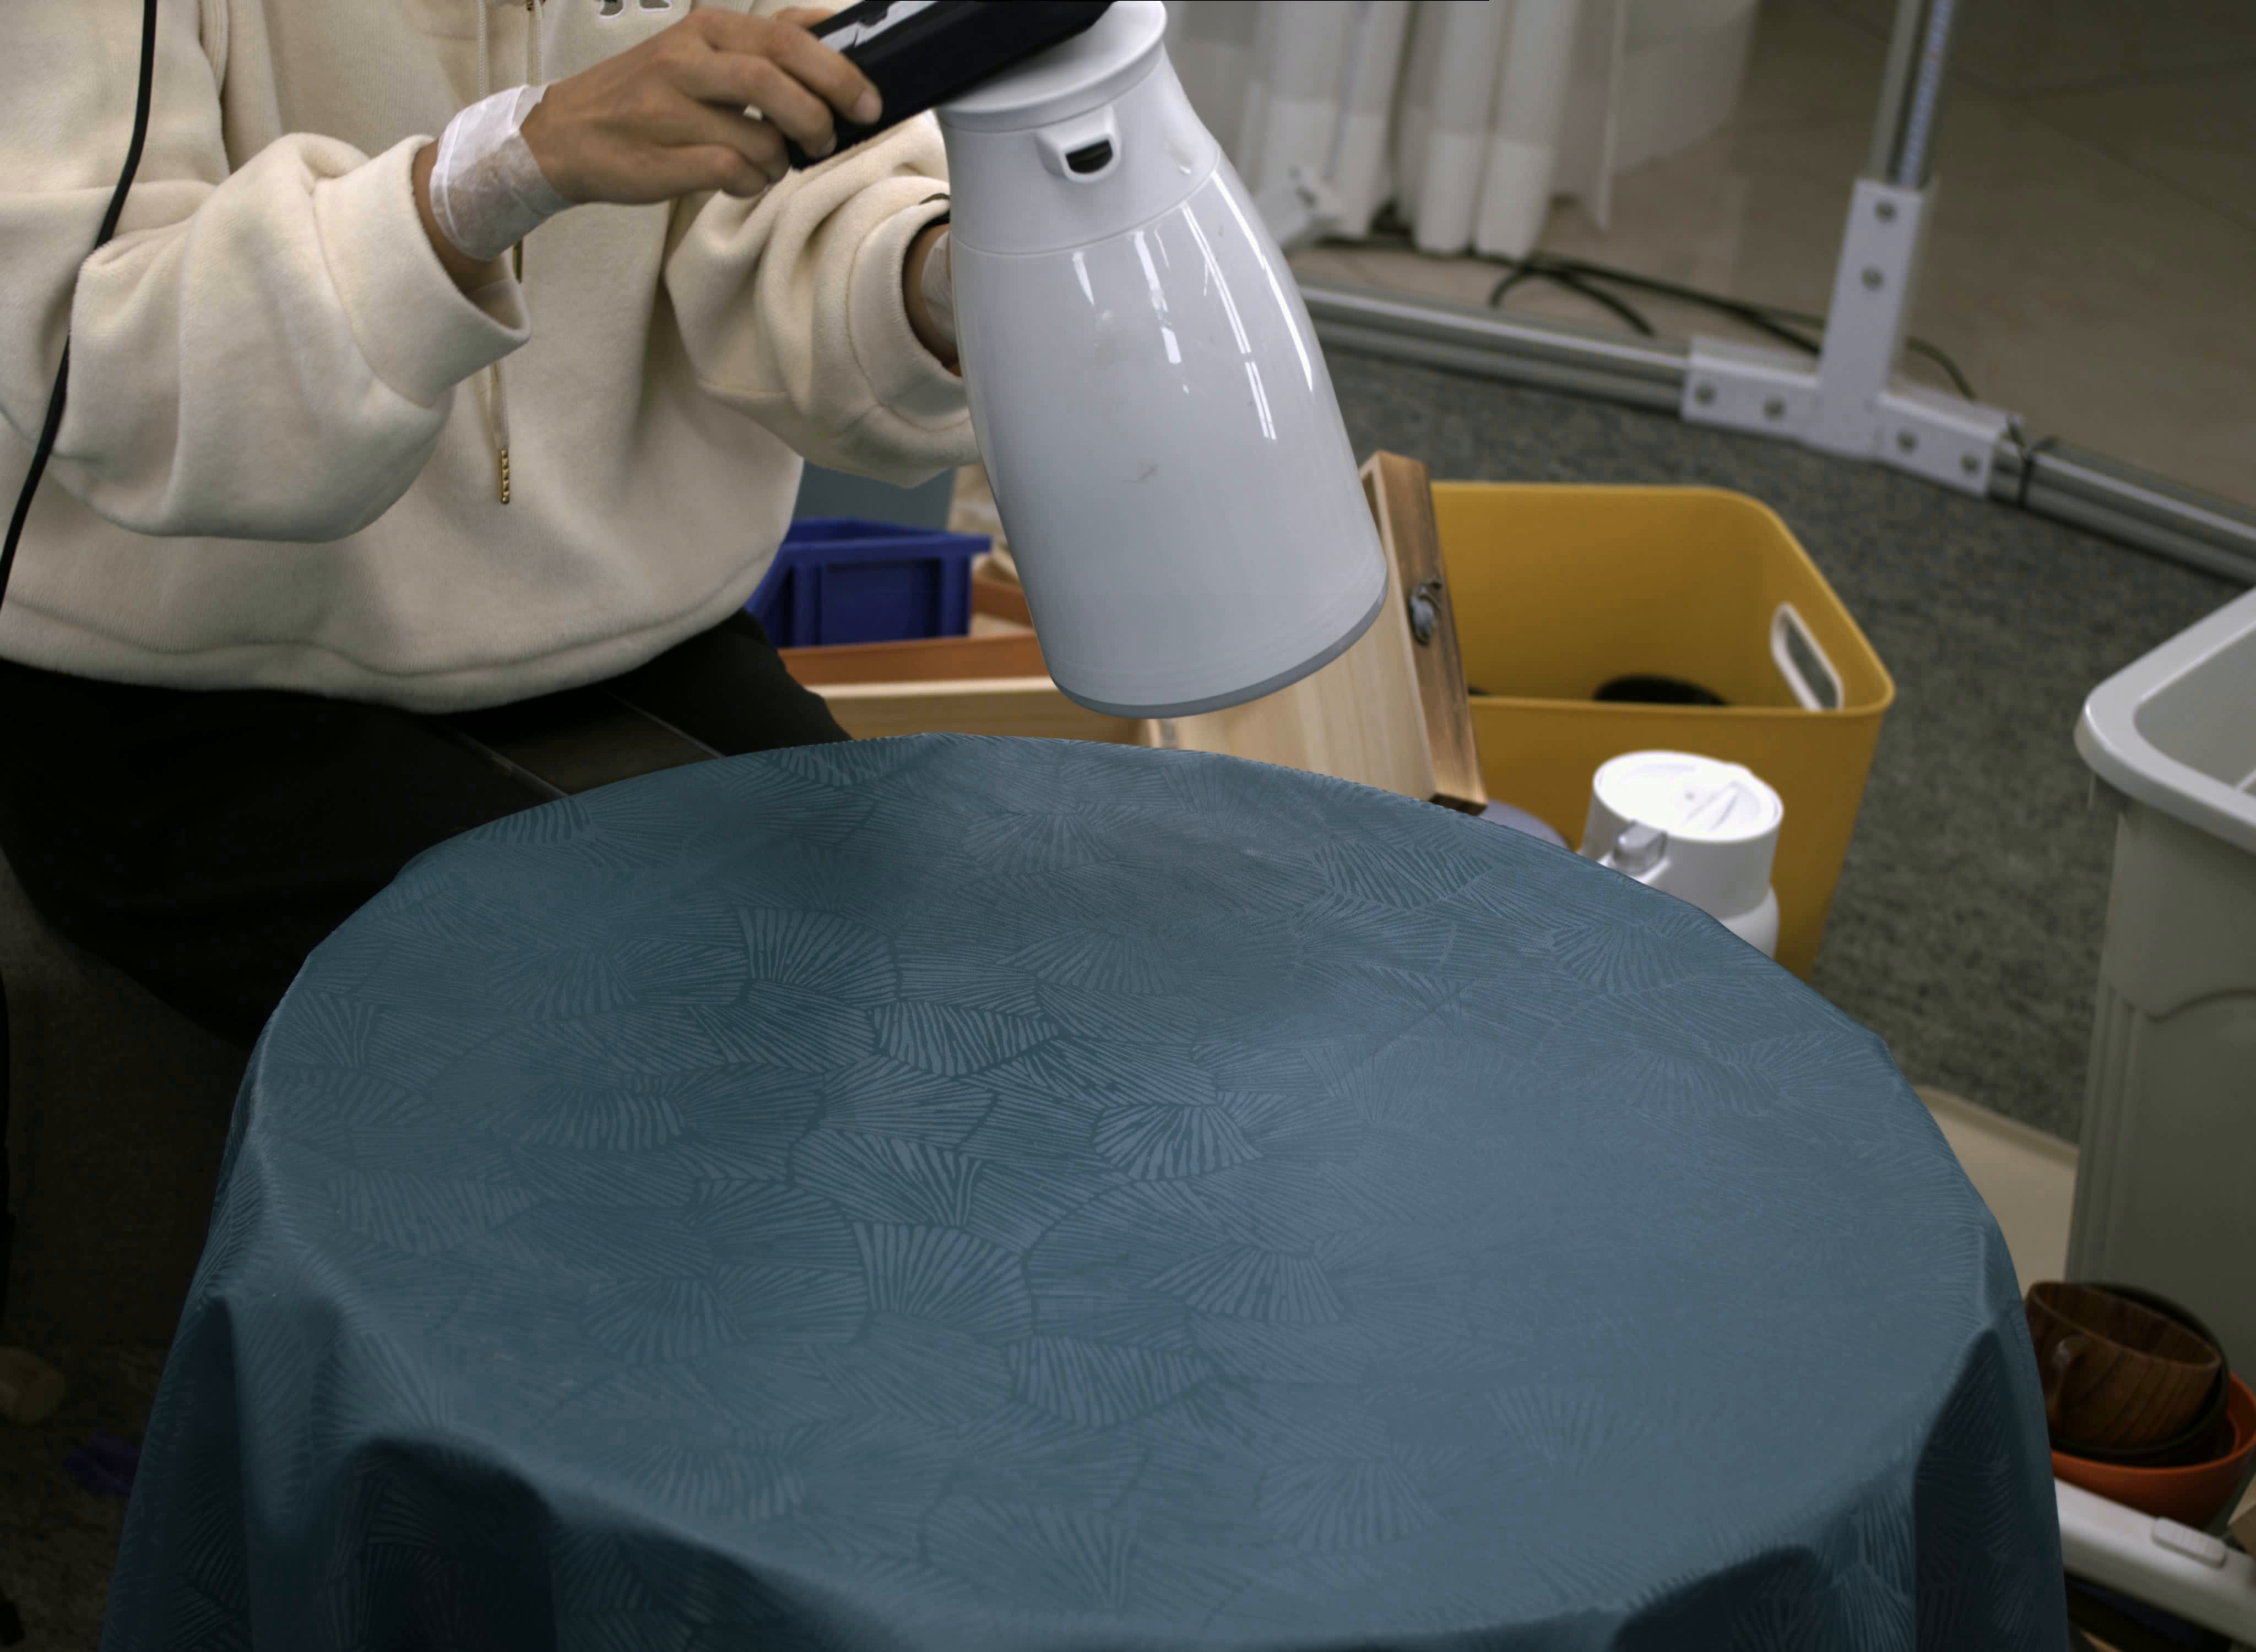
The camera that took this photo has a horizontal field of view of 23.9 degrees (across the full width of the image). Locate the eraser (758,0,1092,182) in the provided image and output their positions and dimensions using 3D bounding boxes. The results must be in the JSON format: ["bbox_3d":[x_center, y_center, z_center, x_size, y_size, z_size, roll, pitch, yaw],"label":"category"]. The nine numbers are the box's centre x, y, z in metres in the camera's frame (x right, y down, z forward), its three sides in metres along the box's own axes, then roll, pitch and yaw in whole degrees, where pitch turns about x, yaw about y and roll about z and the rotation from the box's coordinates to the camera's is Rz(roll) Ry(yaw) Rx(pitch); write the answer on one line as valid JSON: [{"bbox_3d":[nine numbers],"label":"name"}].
[{"bbox_3d":[-0.069,-0.272,1.852,0.125,0.030,0.054,-26,29,21],"label":"eraser"}]

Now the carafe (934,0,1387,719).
[{"bbox_3d":[-0.005,-0.185,1.937,0.132,0.247,0.169,-20,29,-4],"label":"carafe"}]
